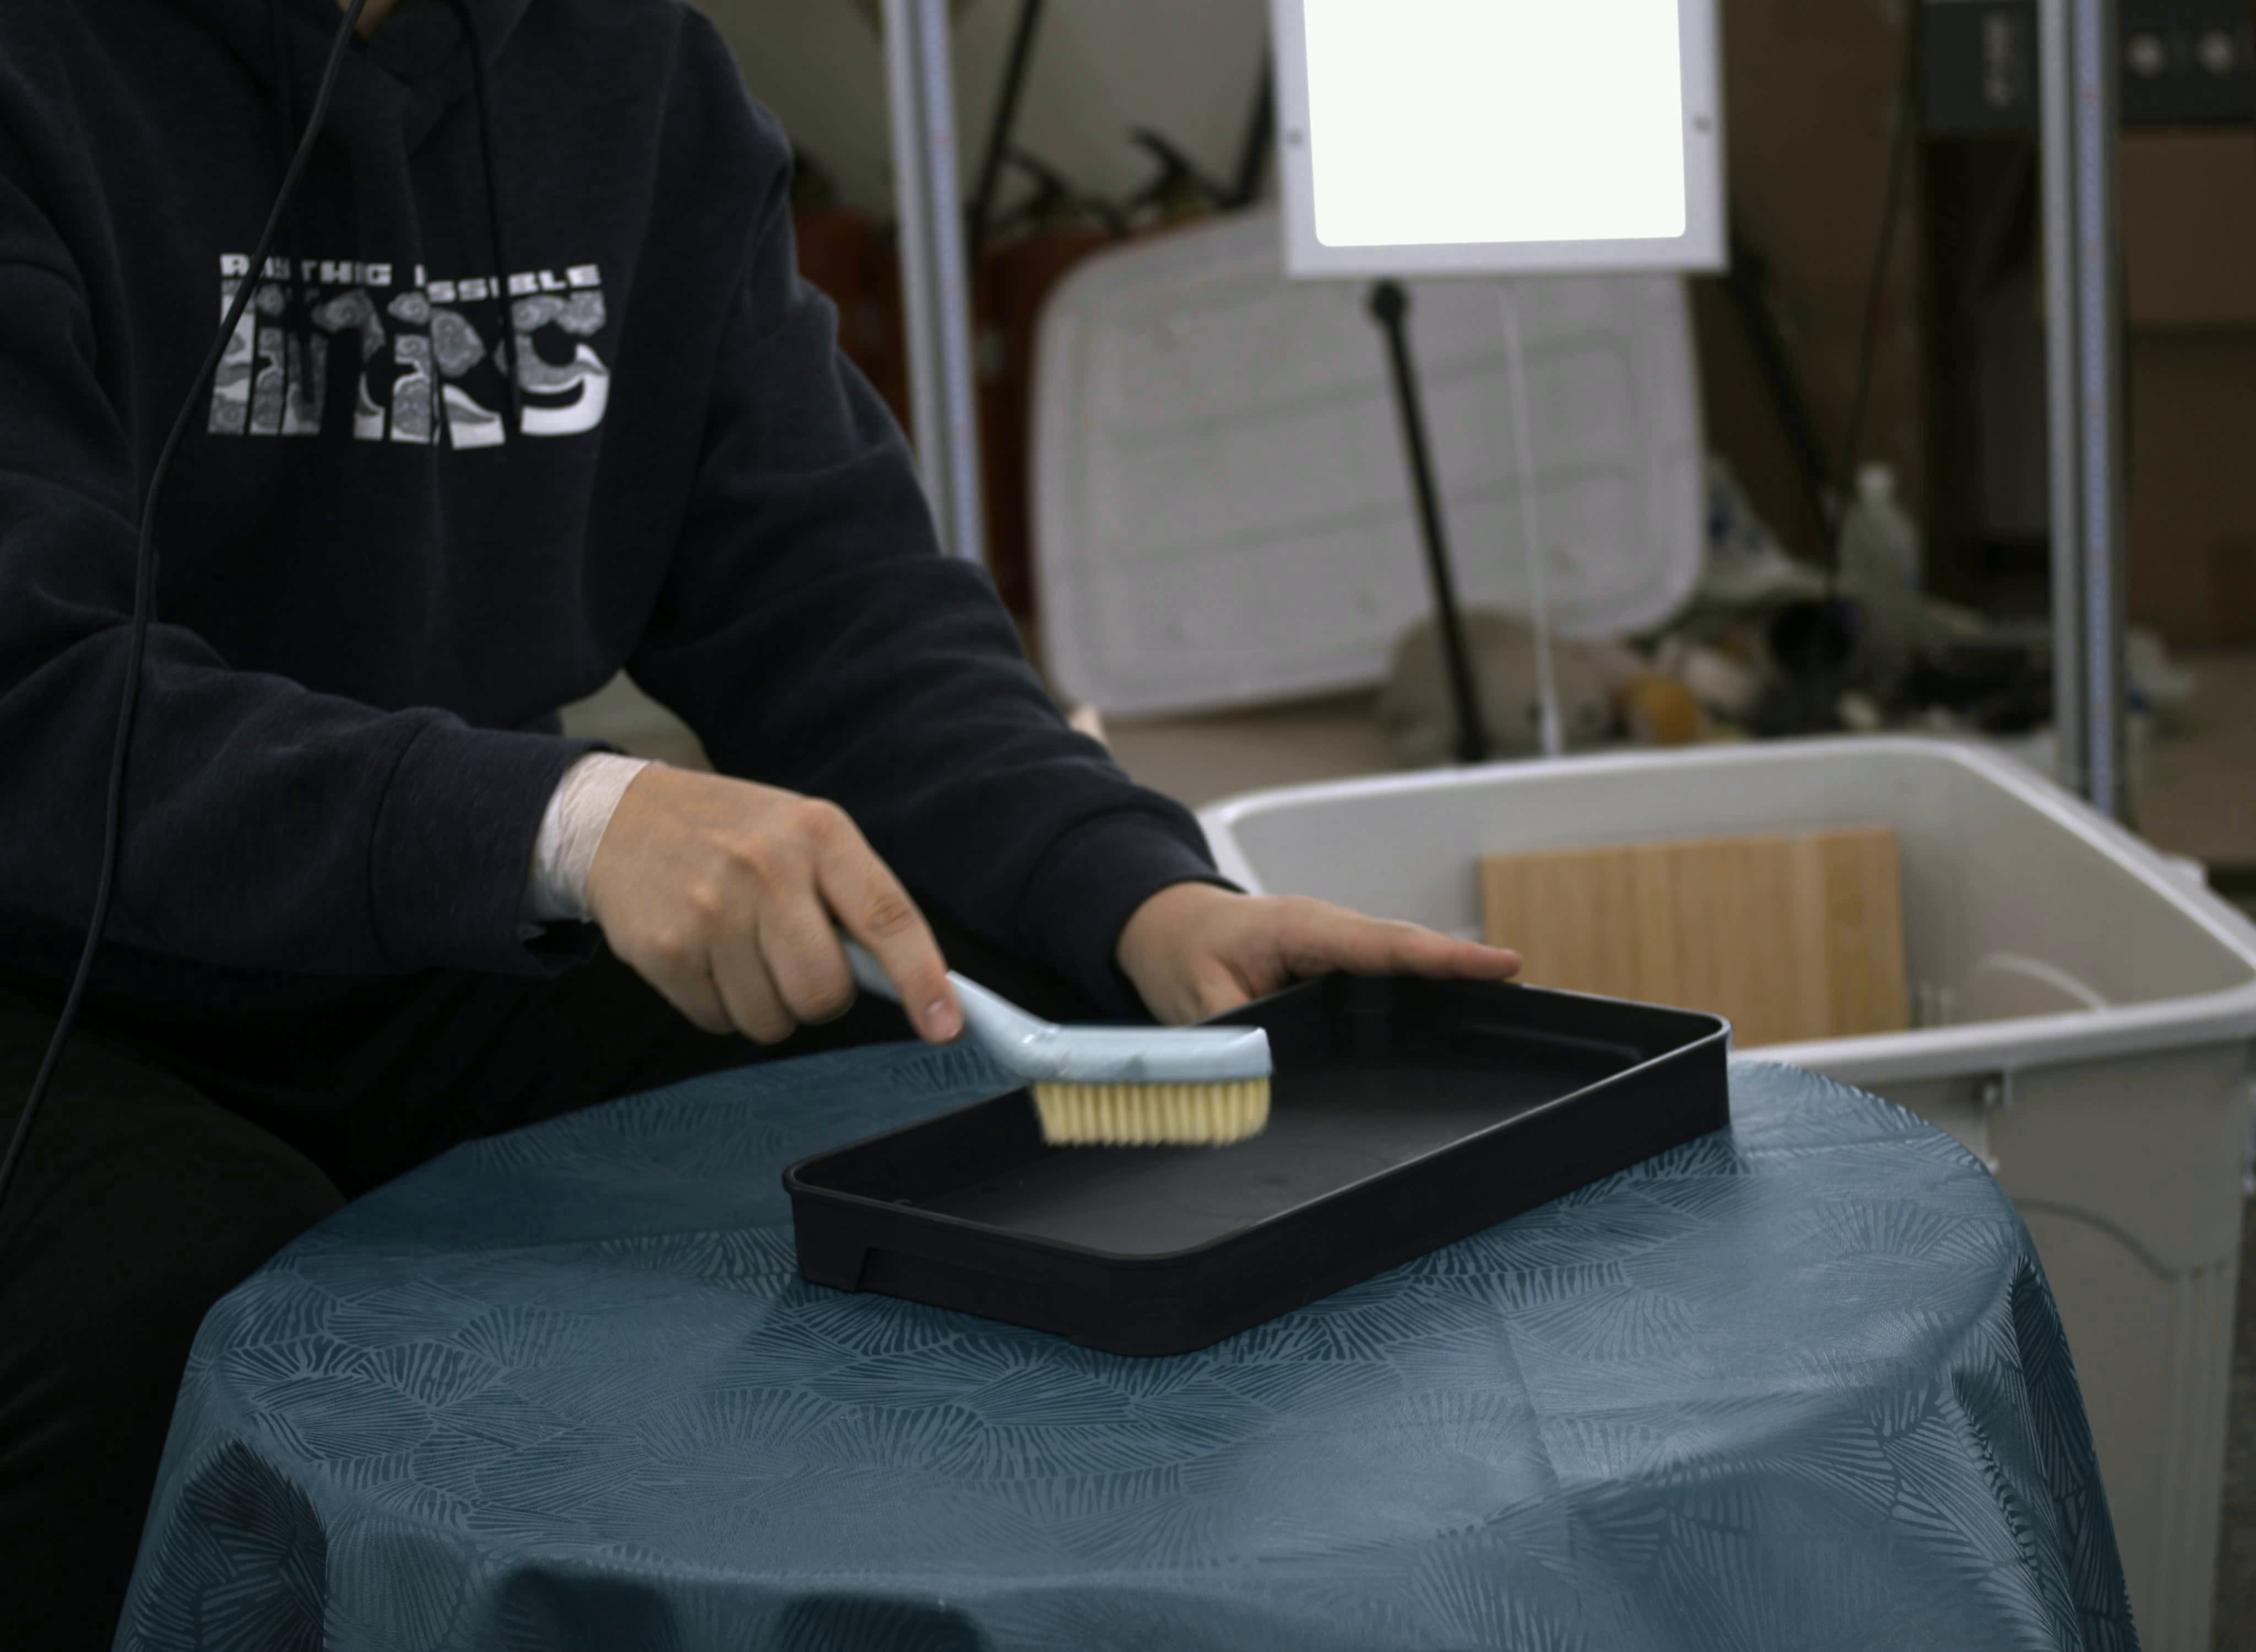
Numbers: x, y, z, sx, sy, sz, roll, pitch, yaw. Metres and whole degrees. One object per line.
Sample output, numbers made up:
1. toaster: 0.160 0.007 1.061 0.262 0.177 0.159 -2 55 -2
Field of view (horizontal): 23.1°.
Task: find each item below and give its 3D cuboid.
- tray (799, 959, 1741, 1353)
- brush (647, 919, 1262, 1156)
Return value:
1. tray: 0.054 0.107 1.883 0.188 0.037 0.310 7 18 42
2. brush: -0.061 0.072 1.827 0.232 0.050 0.037 14 16 27
